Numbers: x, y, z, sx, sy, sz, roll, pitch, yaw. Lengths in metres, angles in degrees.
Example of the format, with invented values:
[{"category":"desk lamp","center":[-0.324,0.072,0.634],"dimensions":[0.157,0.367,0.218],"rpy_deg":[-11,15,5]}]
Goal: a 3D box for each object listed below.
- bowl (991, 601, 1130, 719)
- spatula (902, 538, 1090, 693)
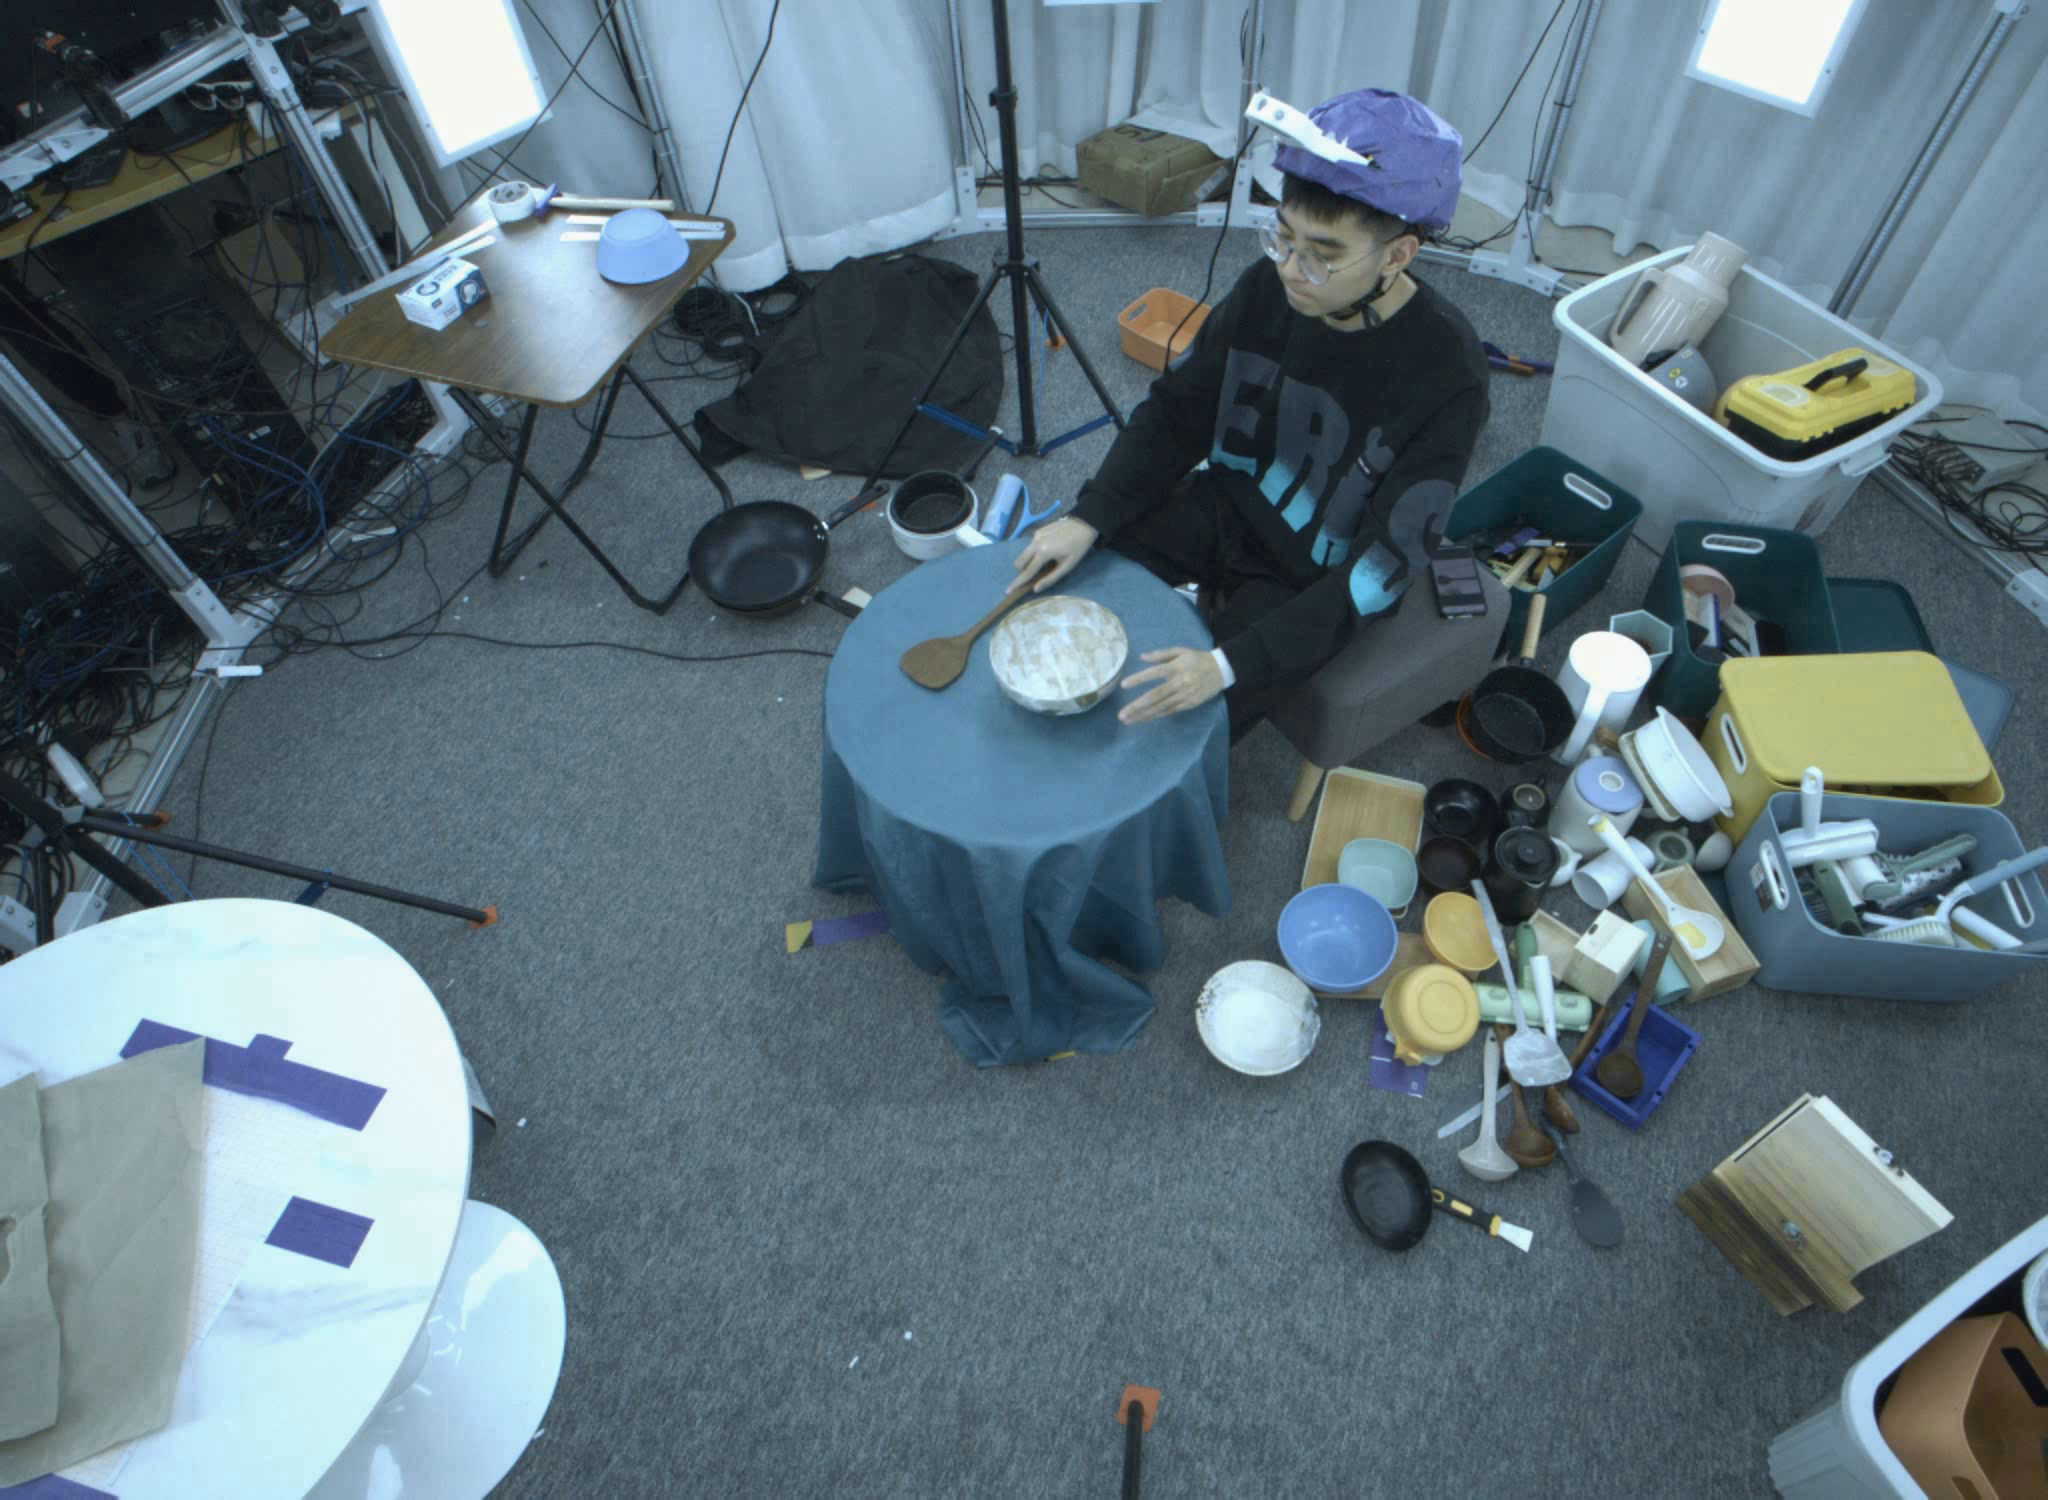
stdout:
[{"category":"bowl","center":[0.058,-0.120,1.823],"dimensions":[0.214,0.095,0.212],"rpy_deg":[0,53,2]},{"category":"spatula","center":[-0.032,-0.223,1.939],"dimensions":[0.094,0.016,0.388],"rpy_deg":[38,68,24]}]
